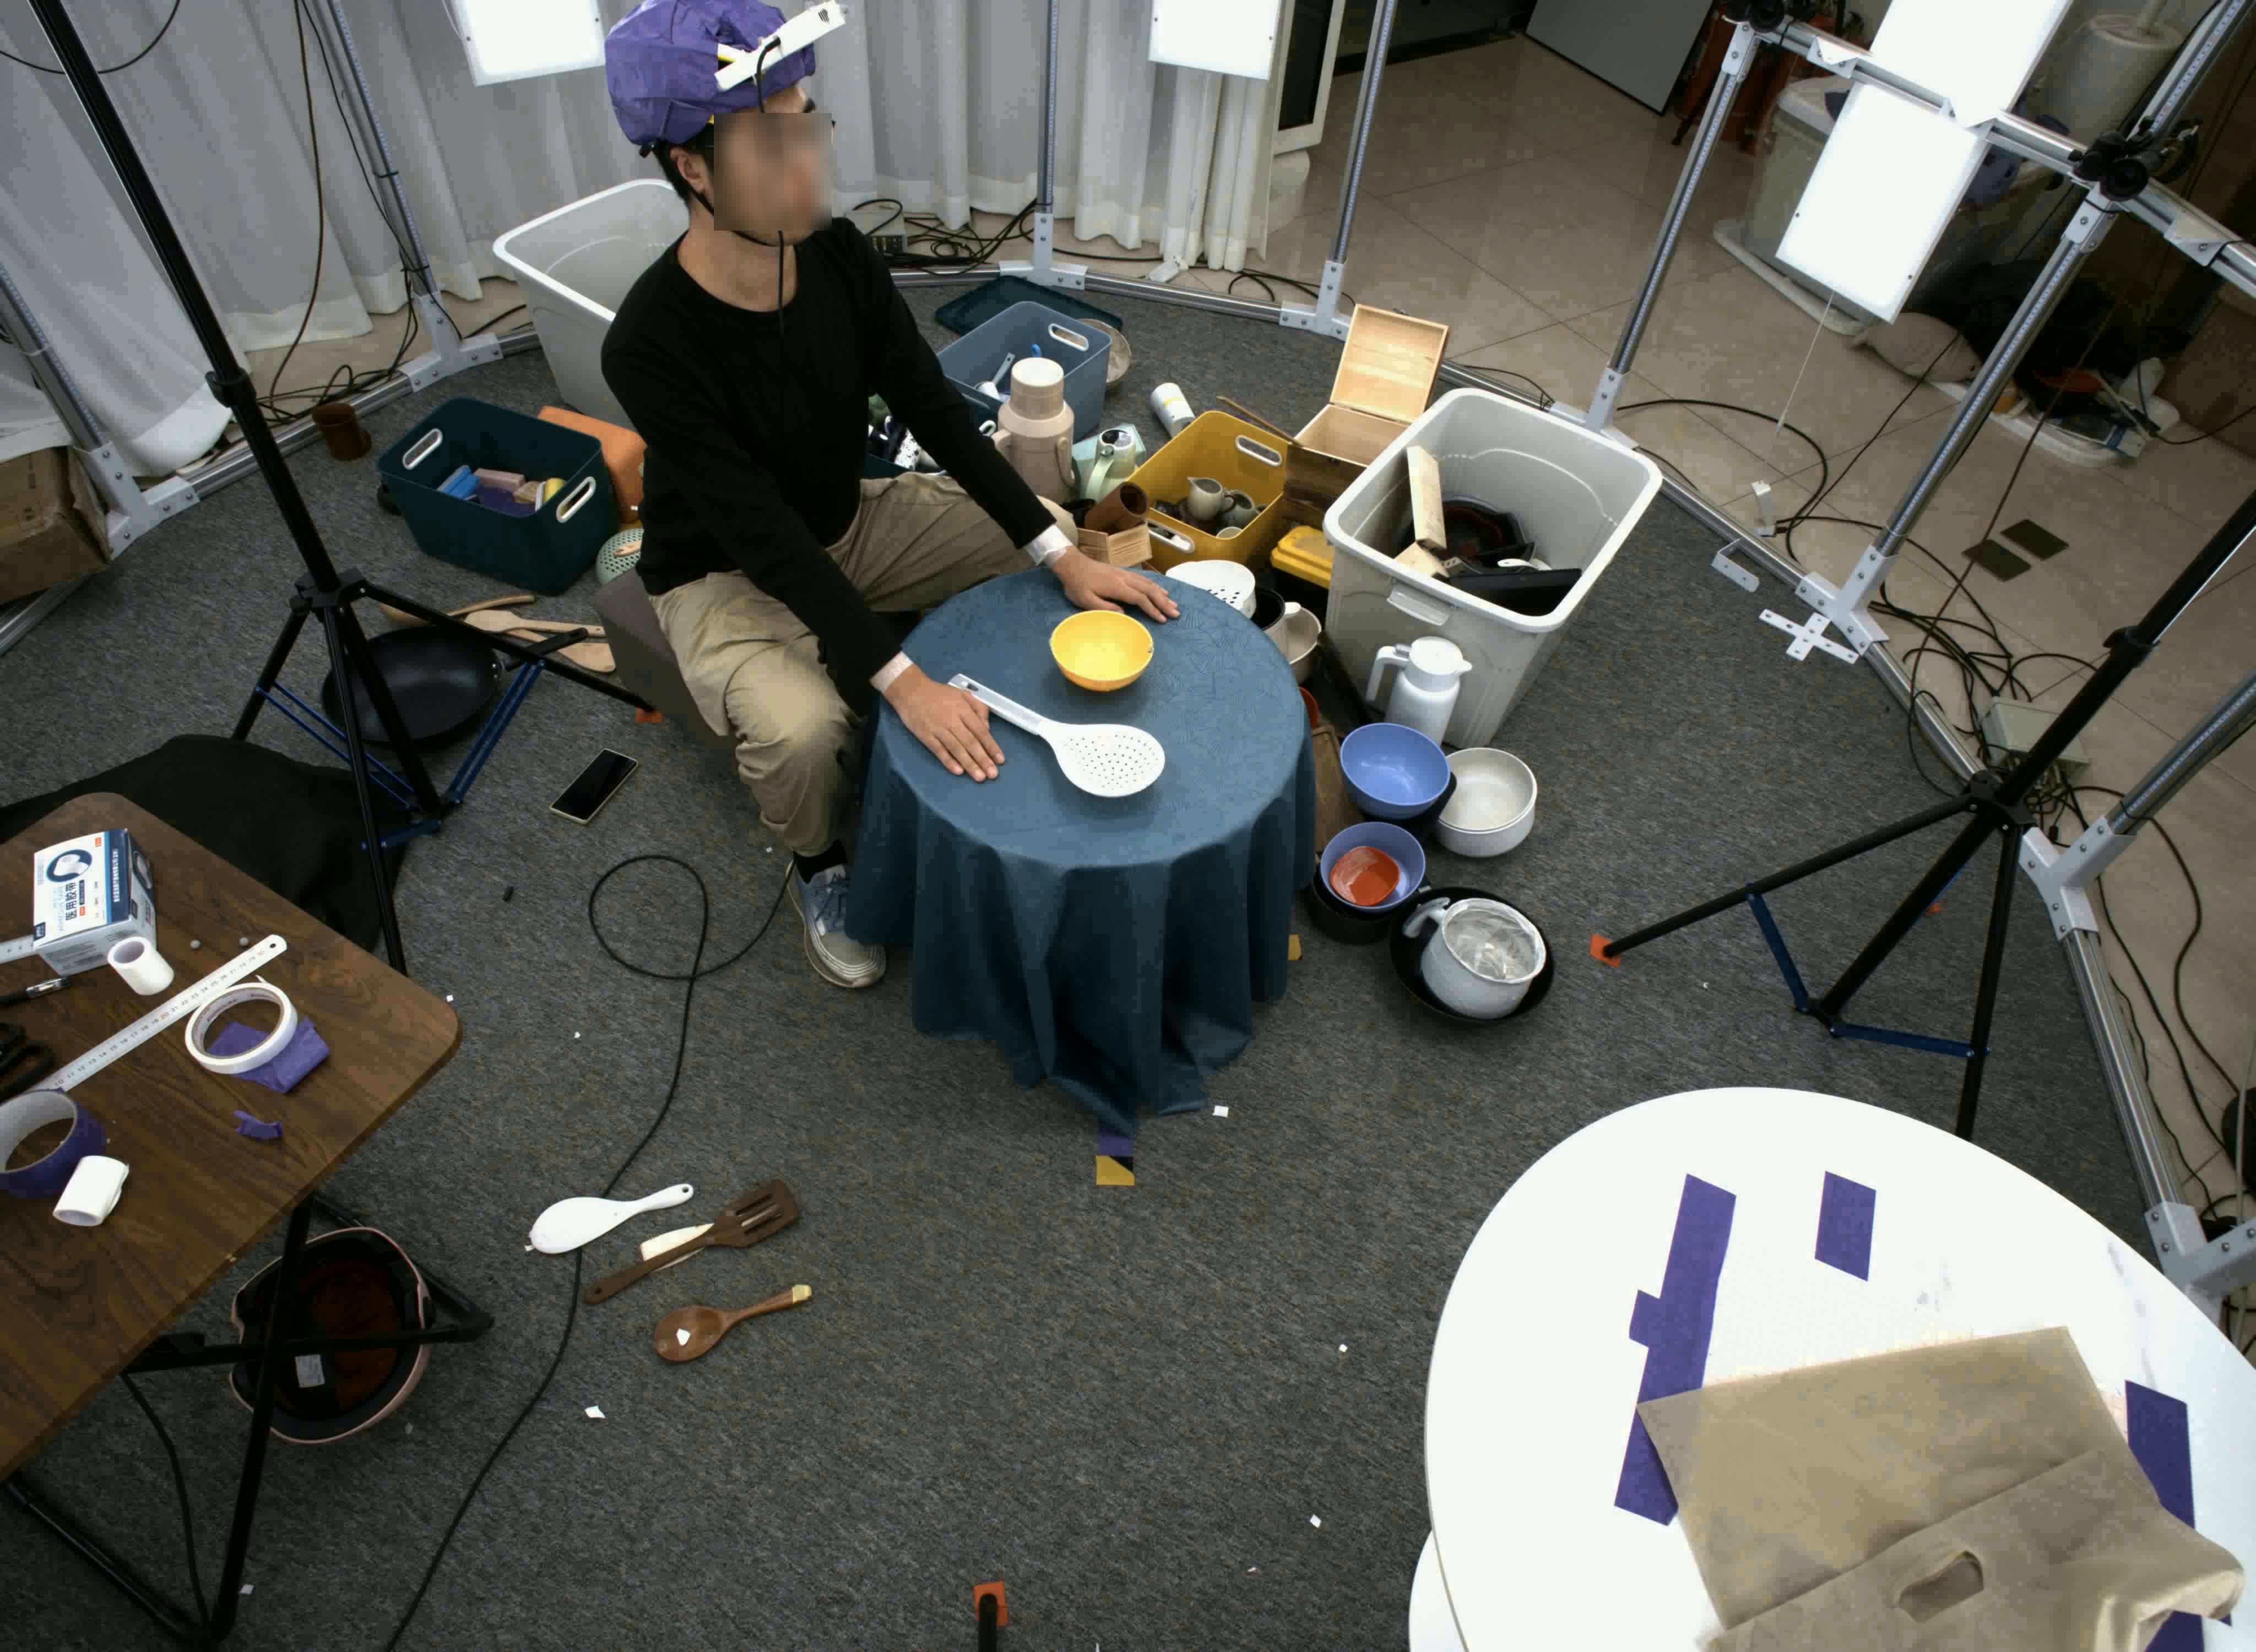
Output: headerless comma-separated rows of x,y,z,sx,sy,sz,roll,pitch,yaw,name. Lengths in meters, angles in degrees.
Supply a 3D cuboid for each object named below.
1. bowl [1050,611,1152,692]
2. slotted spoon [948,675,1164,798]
-0.040,-0.238,1.838,0.145,0.058,0.149,3,49,-4,bowl
-0.108,-0.129,1.745,0.354,0.044,0.138,31,53,22,slotted spoon
